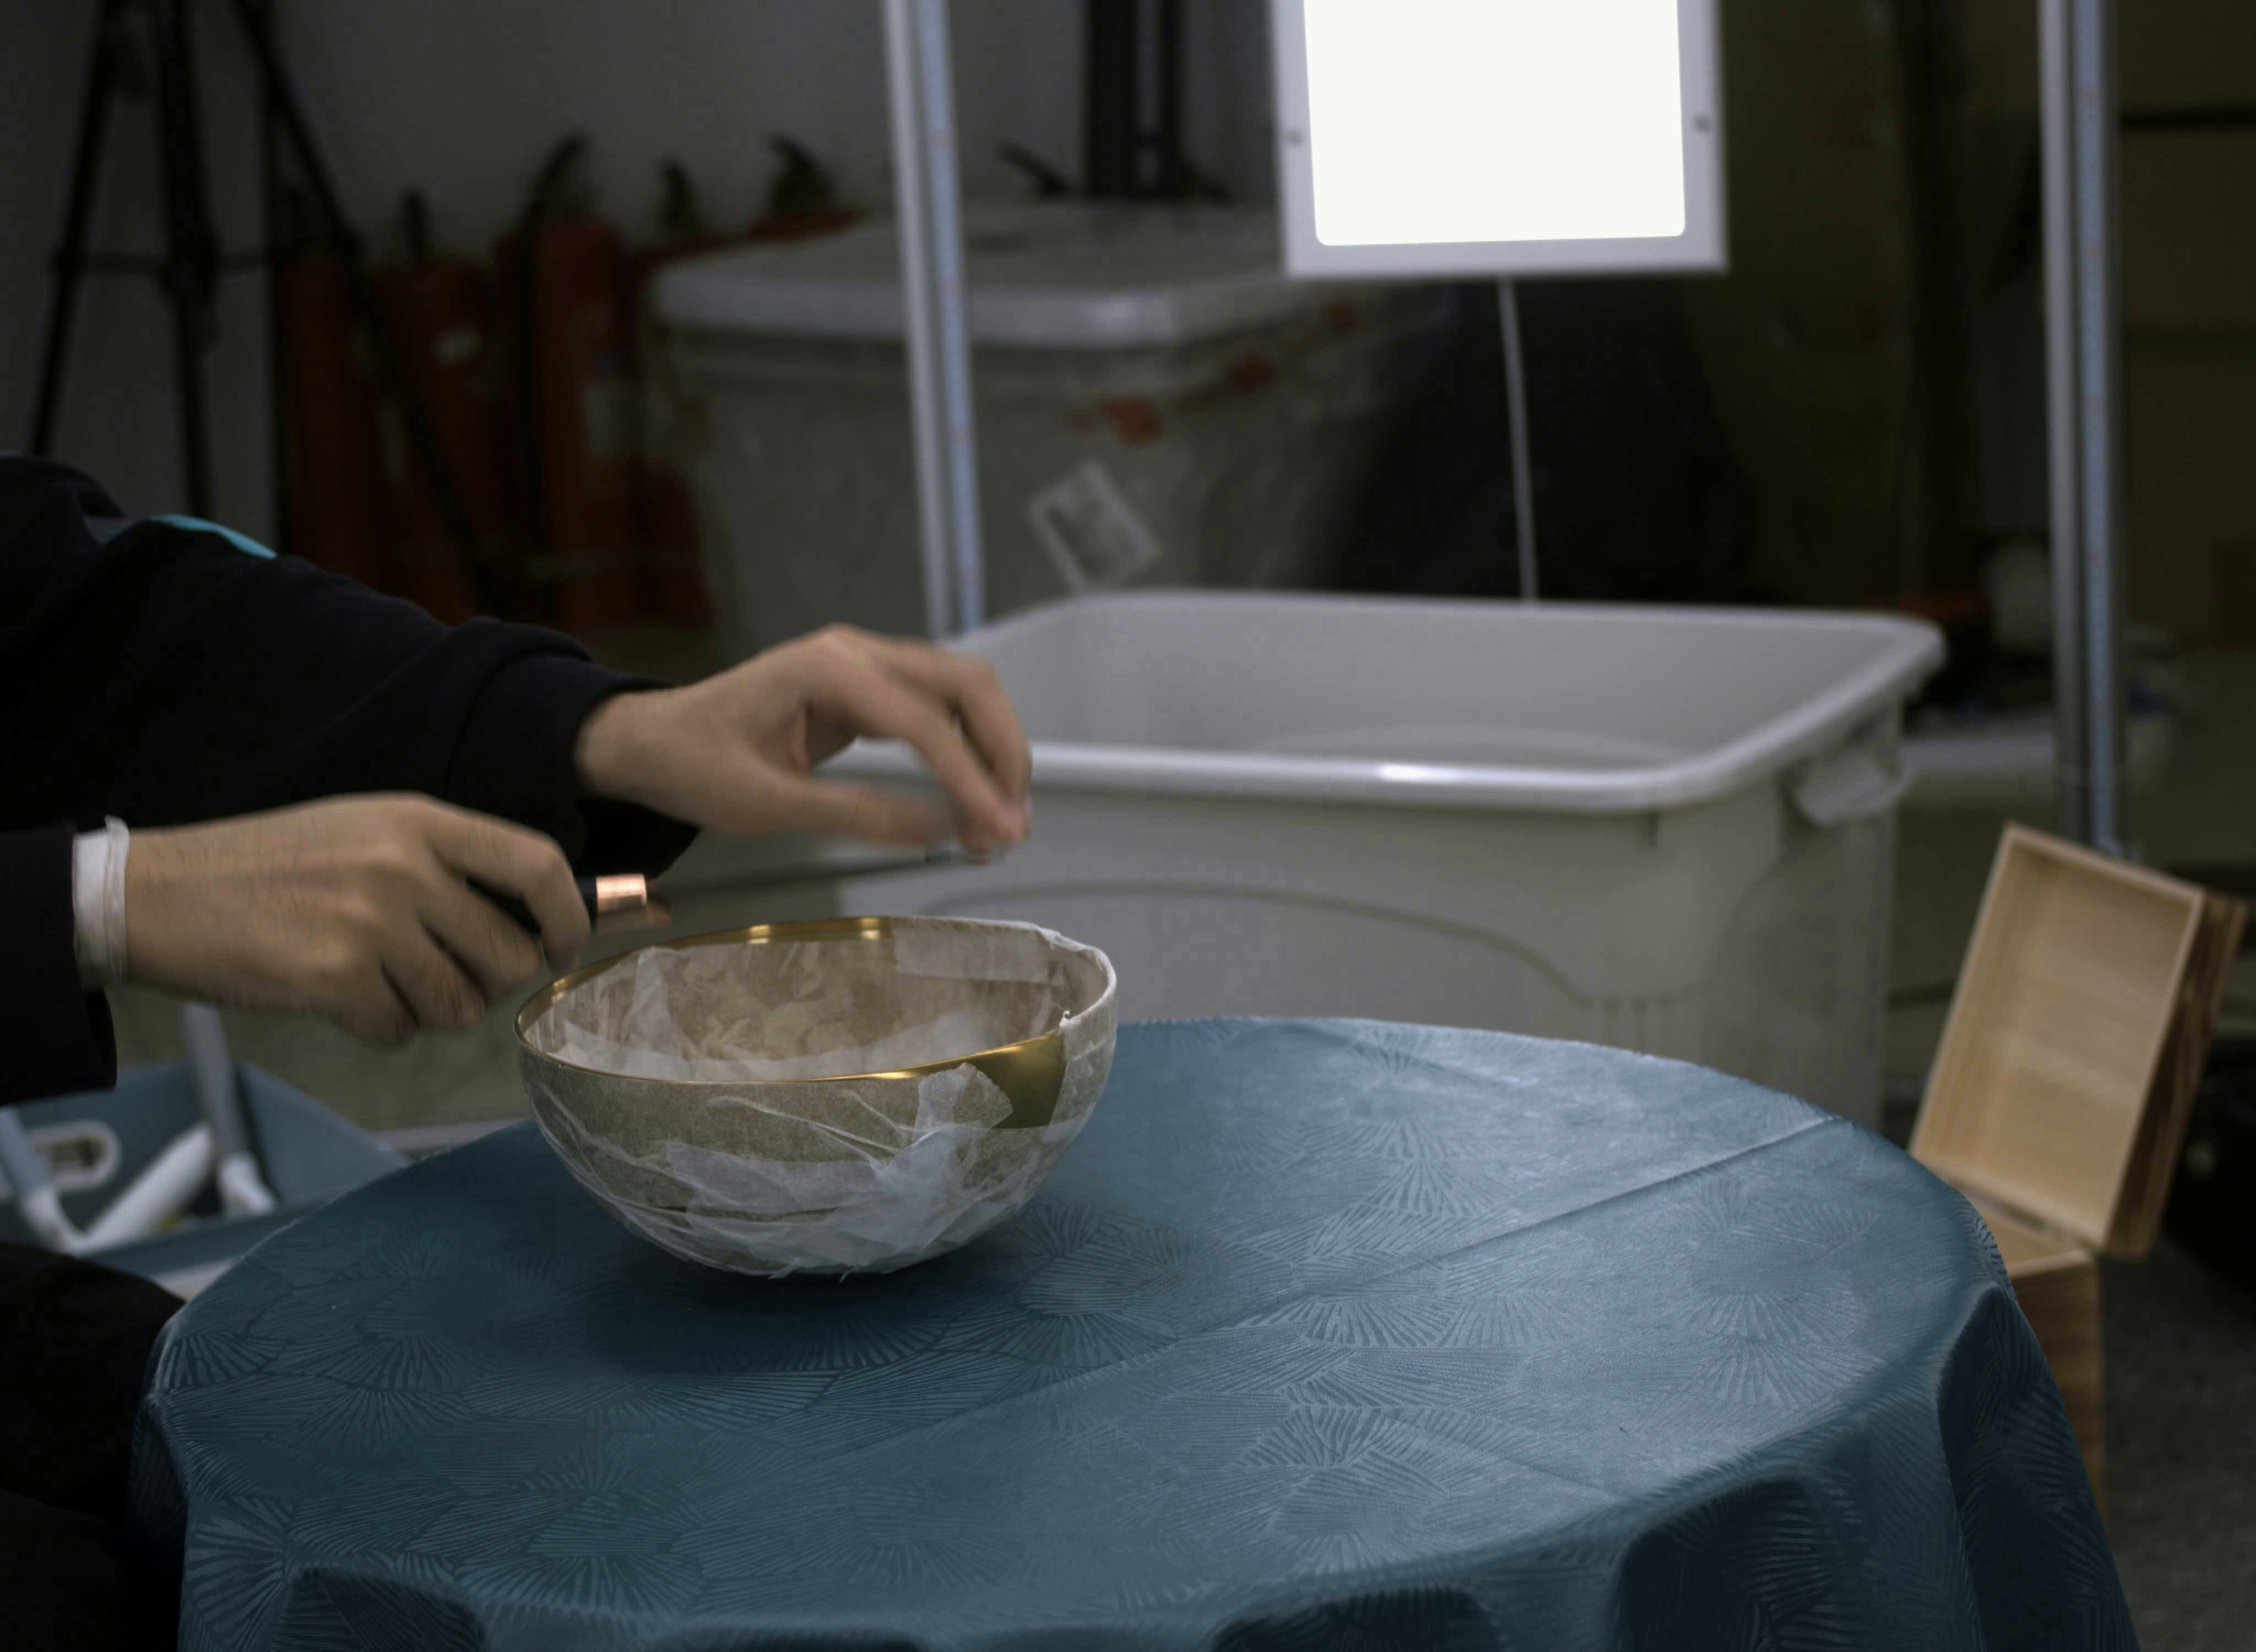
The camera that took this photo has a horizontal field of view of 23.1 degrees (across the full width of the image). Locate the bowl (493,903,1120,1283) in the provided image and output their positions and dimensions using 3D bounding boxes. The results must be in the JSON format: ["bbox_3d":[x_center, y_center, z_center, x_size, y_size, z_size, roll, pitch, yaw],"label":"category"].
[{"bbox_3d":[-0.105,0.098,1.851,0.214,0.095,0.214,-5,15,0],"label":"bowl"}]

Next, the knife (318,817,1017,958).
[{"bbox_3d":[-0.144,0.017,1.715,0.227,0.017,0.026,-10,-10,14],"label":"knife"}]
